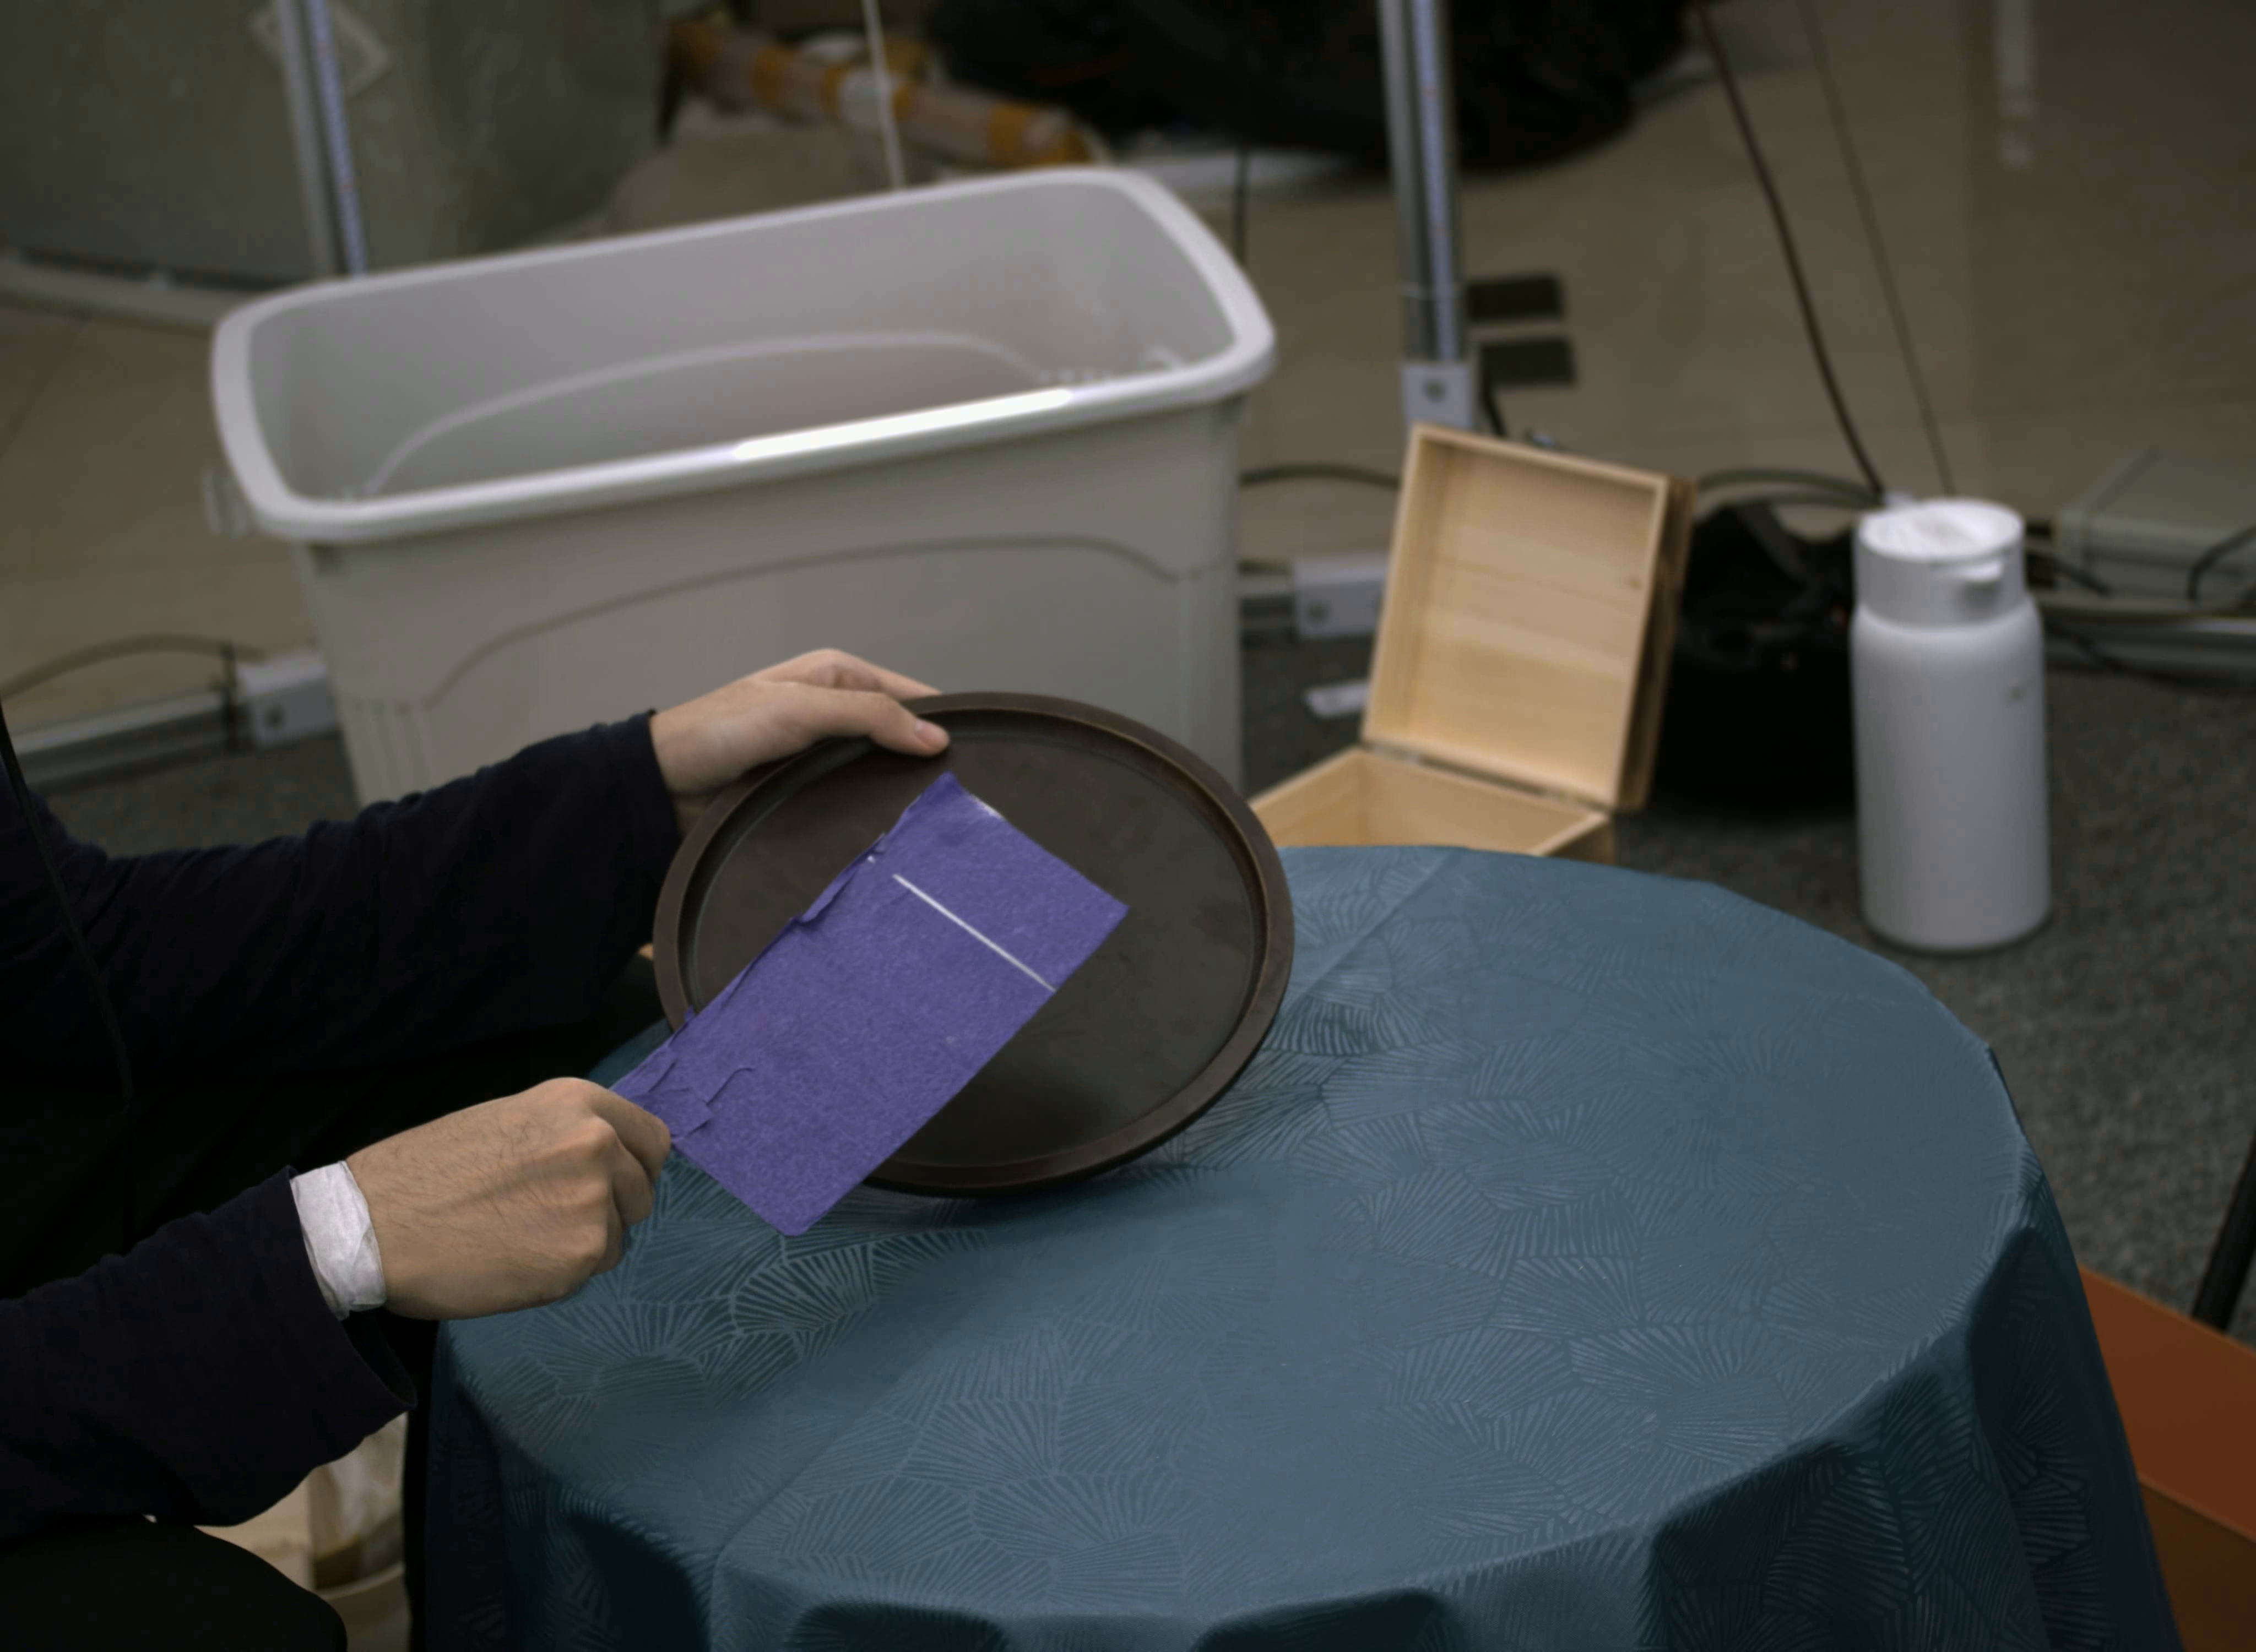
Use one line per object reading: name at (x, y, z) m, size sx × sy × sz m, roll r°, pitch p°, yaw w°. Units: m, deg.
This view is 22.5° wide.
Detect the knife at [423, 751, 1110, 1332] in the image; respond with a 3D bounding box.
knife at (-0.123, 0.090, 2.065) m, size 0.103 × 0.033 × 0.311 m, roll 36°, pitch 58°, yaw 12°

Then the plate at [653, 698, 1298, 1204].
plate at (-0.060, 0.048, 2.224) m, size 0.254 × 0.029 × 0.250 m, roll 0°, pitch 51°, yaw 0°
